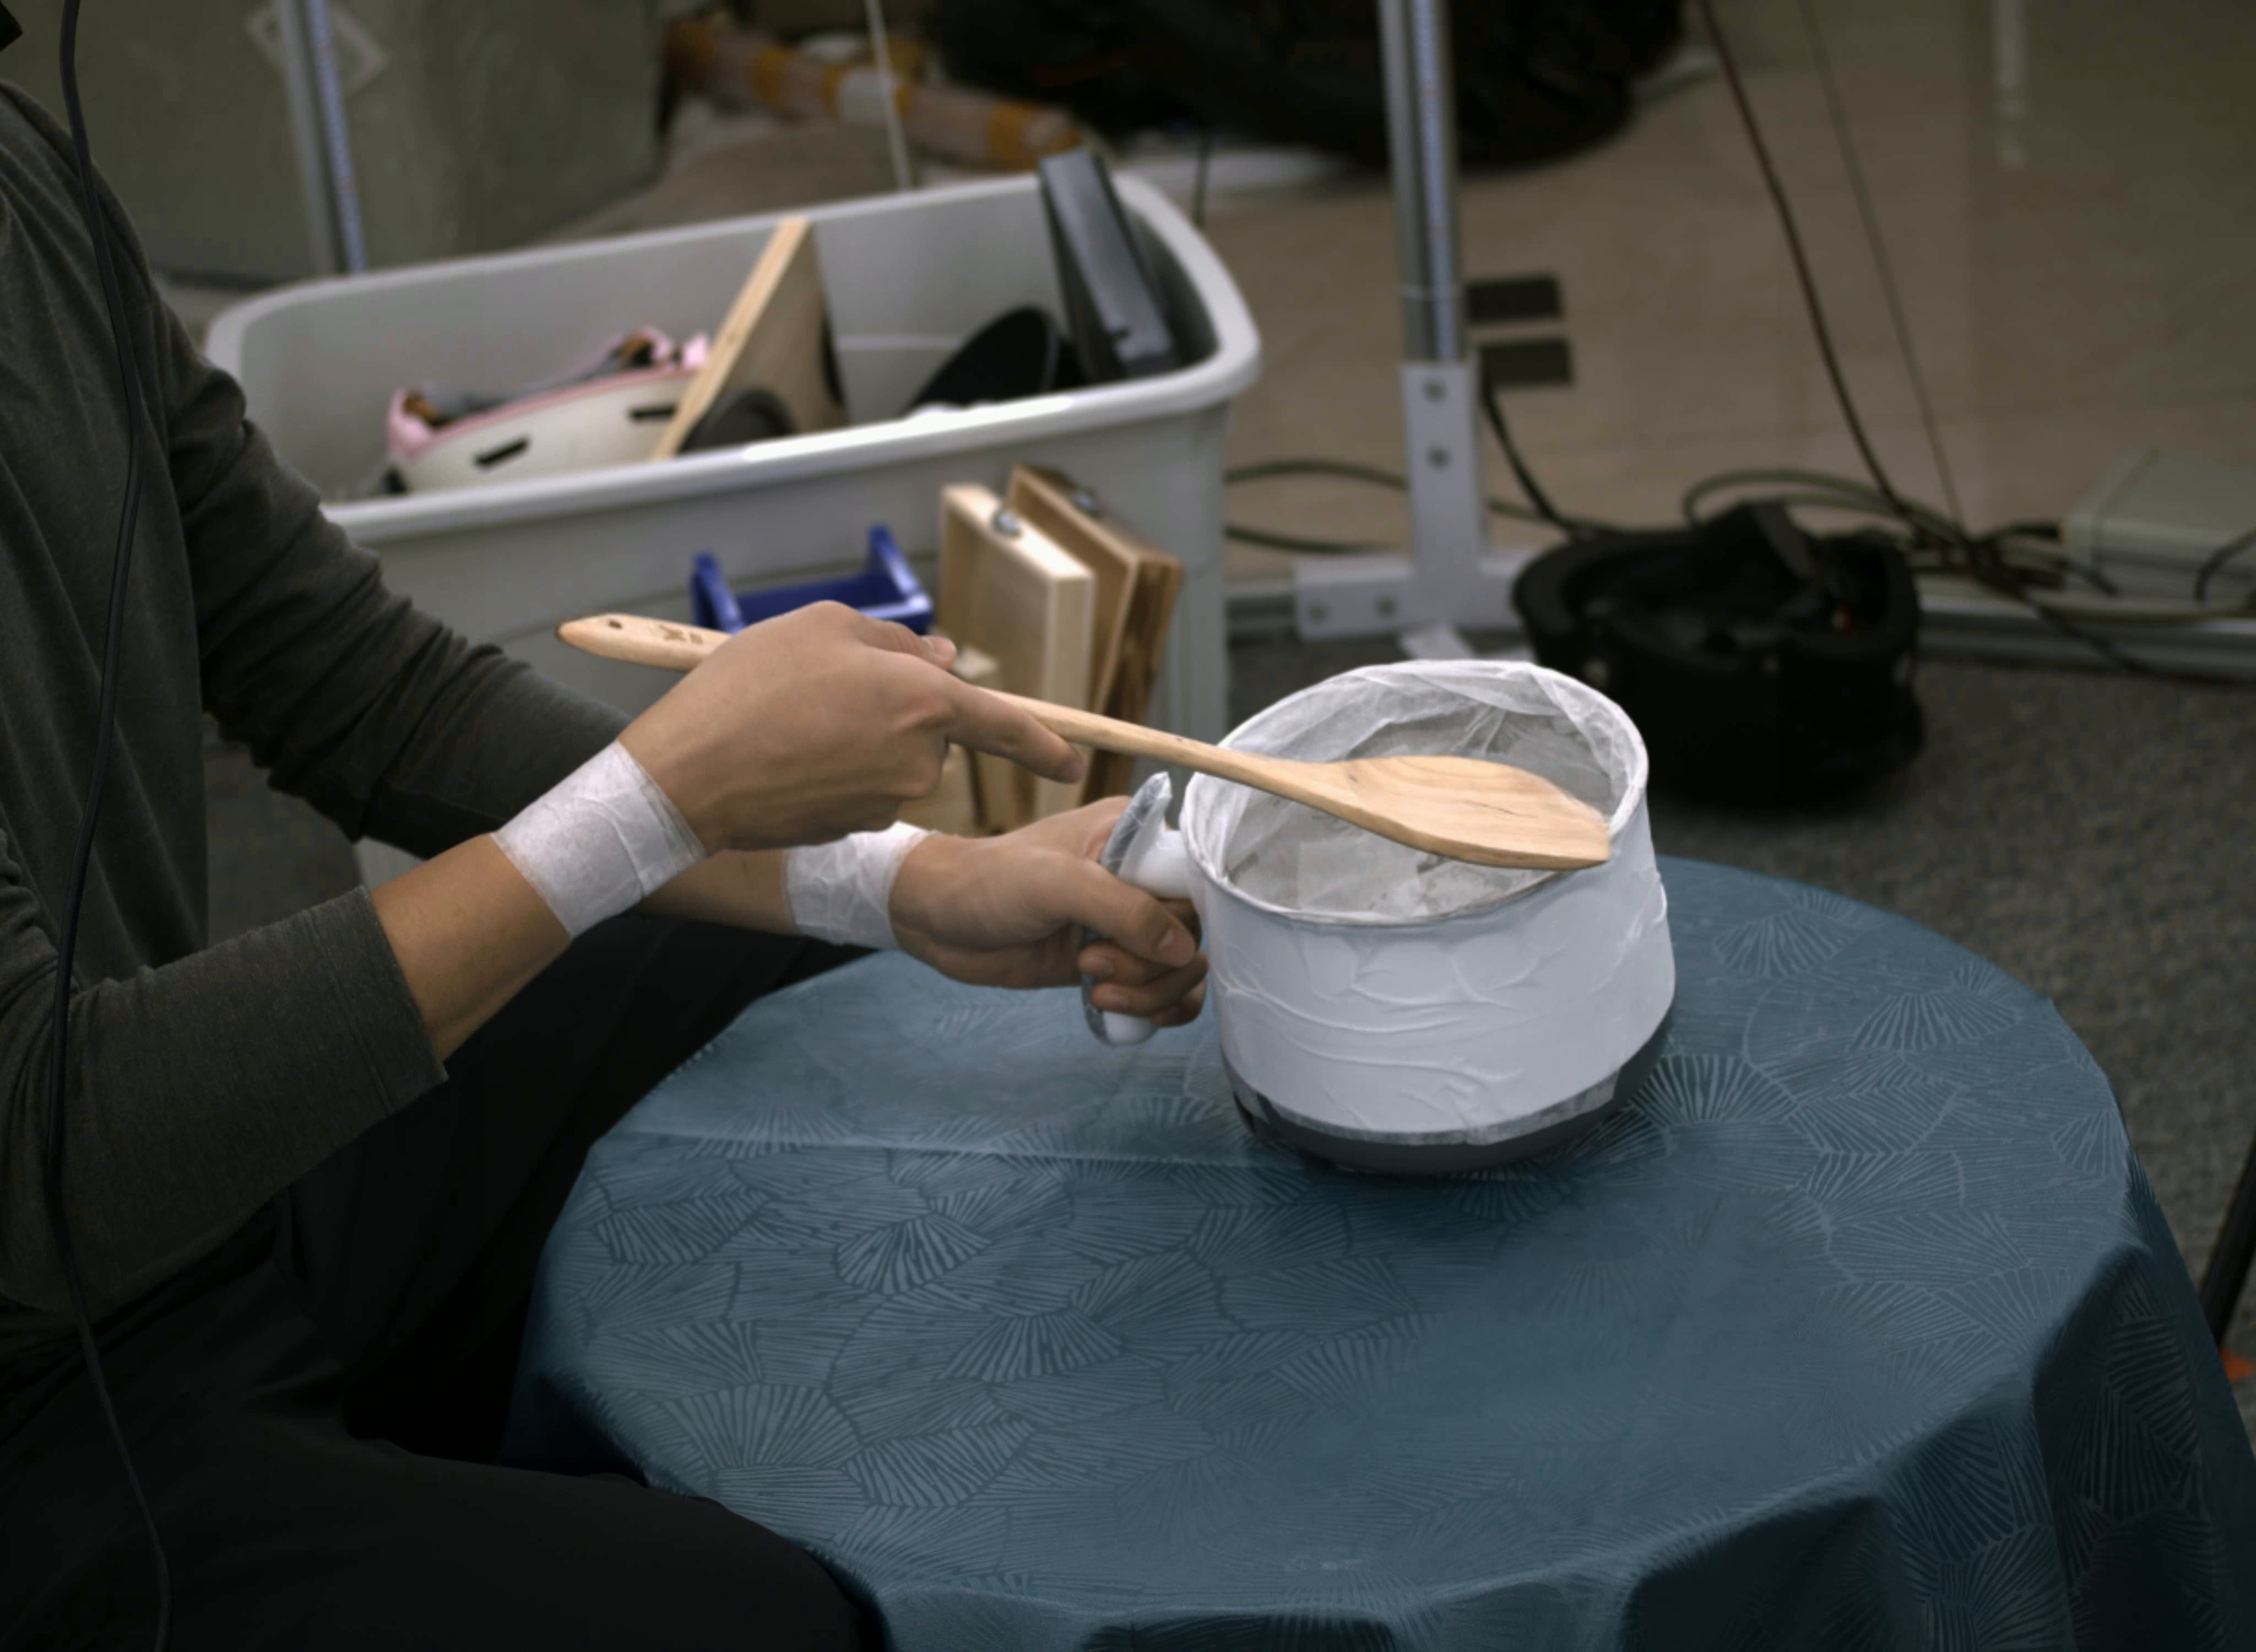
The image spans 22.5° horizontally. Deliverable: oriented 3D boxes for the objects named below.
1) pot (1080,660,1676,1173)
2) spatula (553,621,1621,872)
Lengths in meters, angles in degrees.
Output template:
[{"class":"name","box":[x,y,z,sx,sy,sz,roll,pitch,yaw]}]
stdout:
[{"class":"pot","box":[0.091,0.037,2.163,0.233,0.139,0.176,0,34,15]},{"class":"spatula","box":[-0.011,-0.030,1.992,0.391,0.018,0.094,12,16,-16]}]
